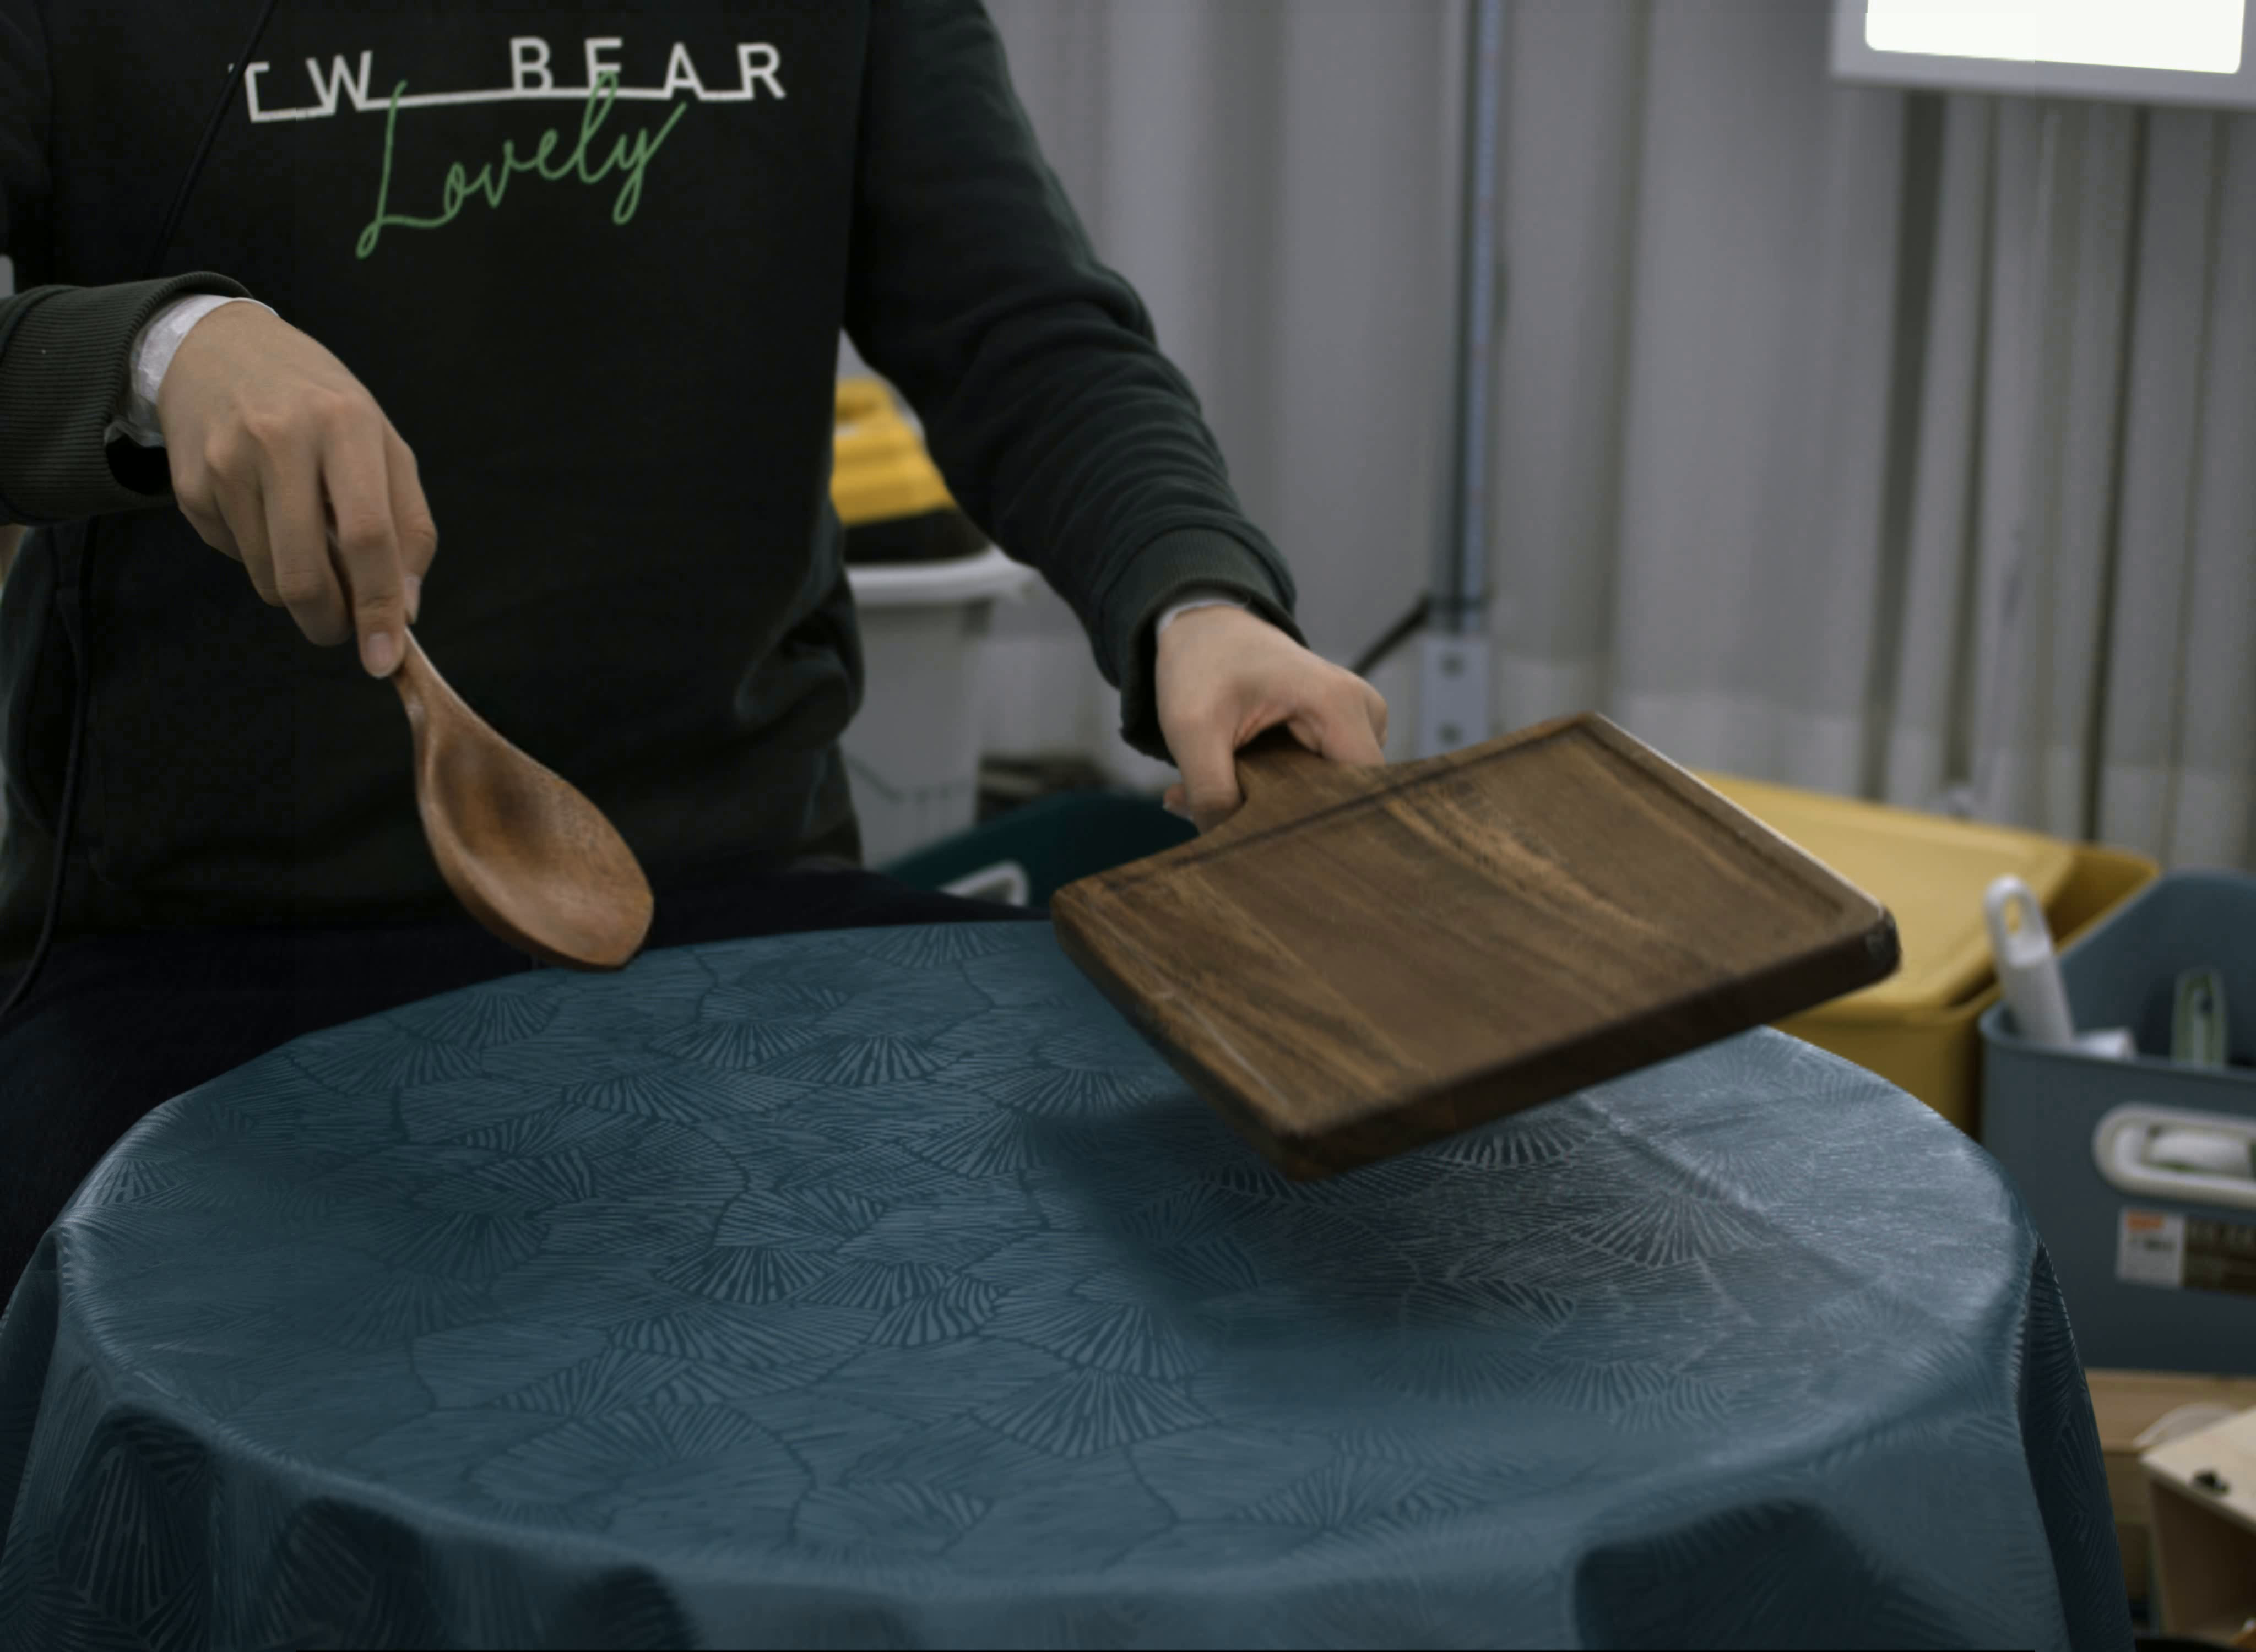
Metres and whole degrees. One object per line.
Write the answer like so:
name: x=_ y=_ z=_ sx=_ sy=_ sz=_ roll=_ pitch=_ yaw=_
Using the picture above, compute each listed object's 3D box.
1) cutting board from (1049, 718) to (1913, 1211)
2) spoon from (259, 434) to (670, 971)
cutting board: x=0.087 y=0.023 z=1.655 sx=0.201 sy=0.023 sz=0.348 roll=-20 pitch=21 yaw=-11
spoon: x=-0.206 y=-0.036 z=1.582 sx=0.076 sy=0.017 sz=0.214 roll=-5 pitch=53 yaw=-48
